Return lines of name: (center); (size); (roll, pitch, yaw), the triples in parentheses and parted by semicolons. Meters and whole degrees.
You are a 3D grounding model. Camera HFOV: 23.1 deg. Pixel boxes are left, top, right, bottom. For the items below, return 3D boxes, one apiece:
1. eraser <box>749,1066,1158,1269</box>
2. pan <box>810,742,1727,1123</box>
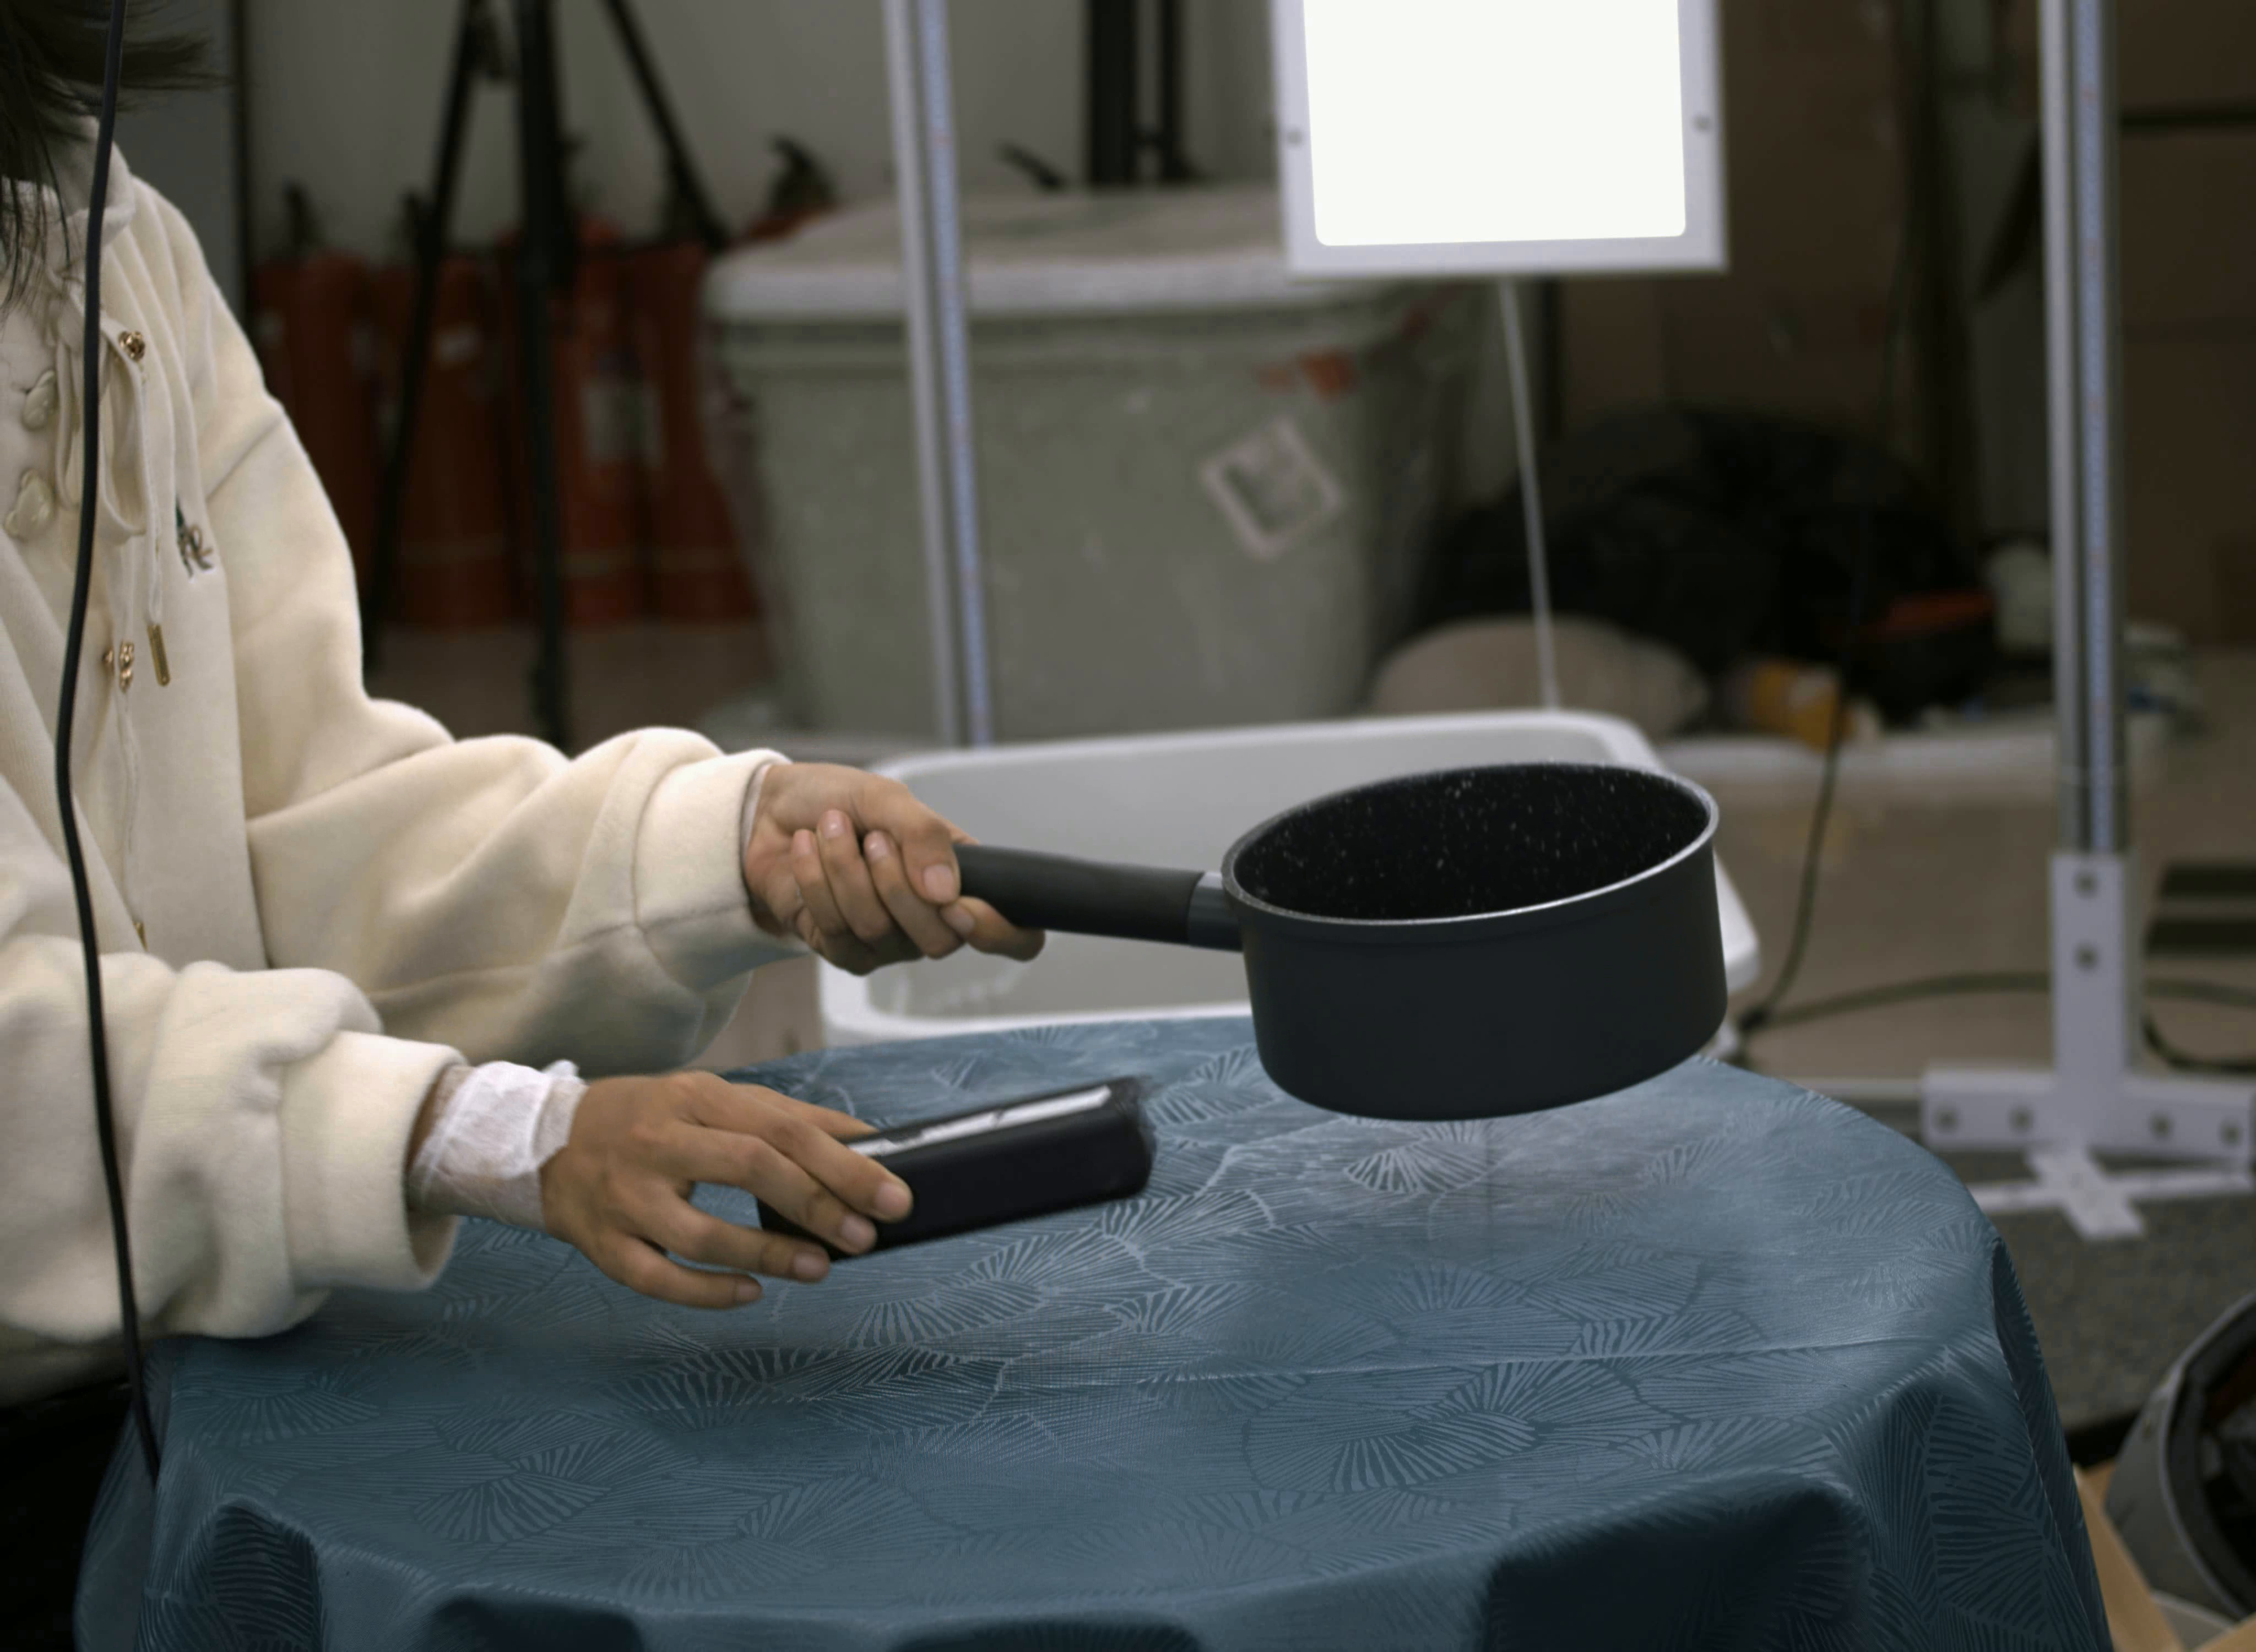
eraser: (-0.054, 0.107, 1.739); (0.127, 0.030, 0.053); (-15, 10, 15)
pan: (0.047, 0.035, 1.912); (0.333, 0.087, 0.169); (0, 20, 22)
